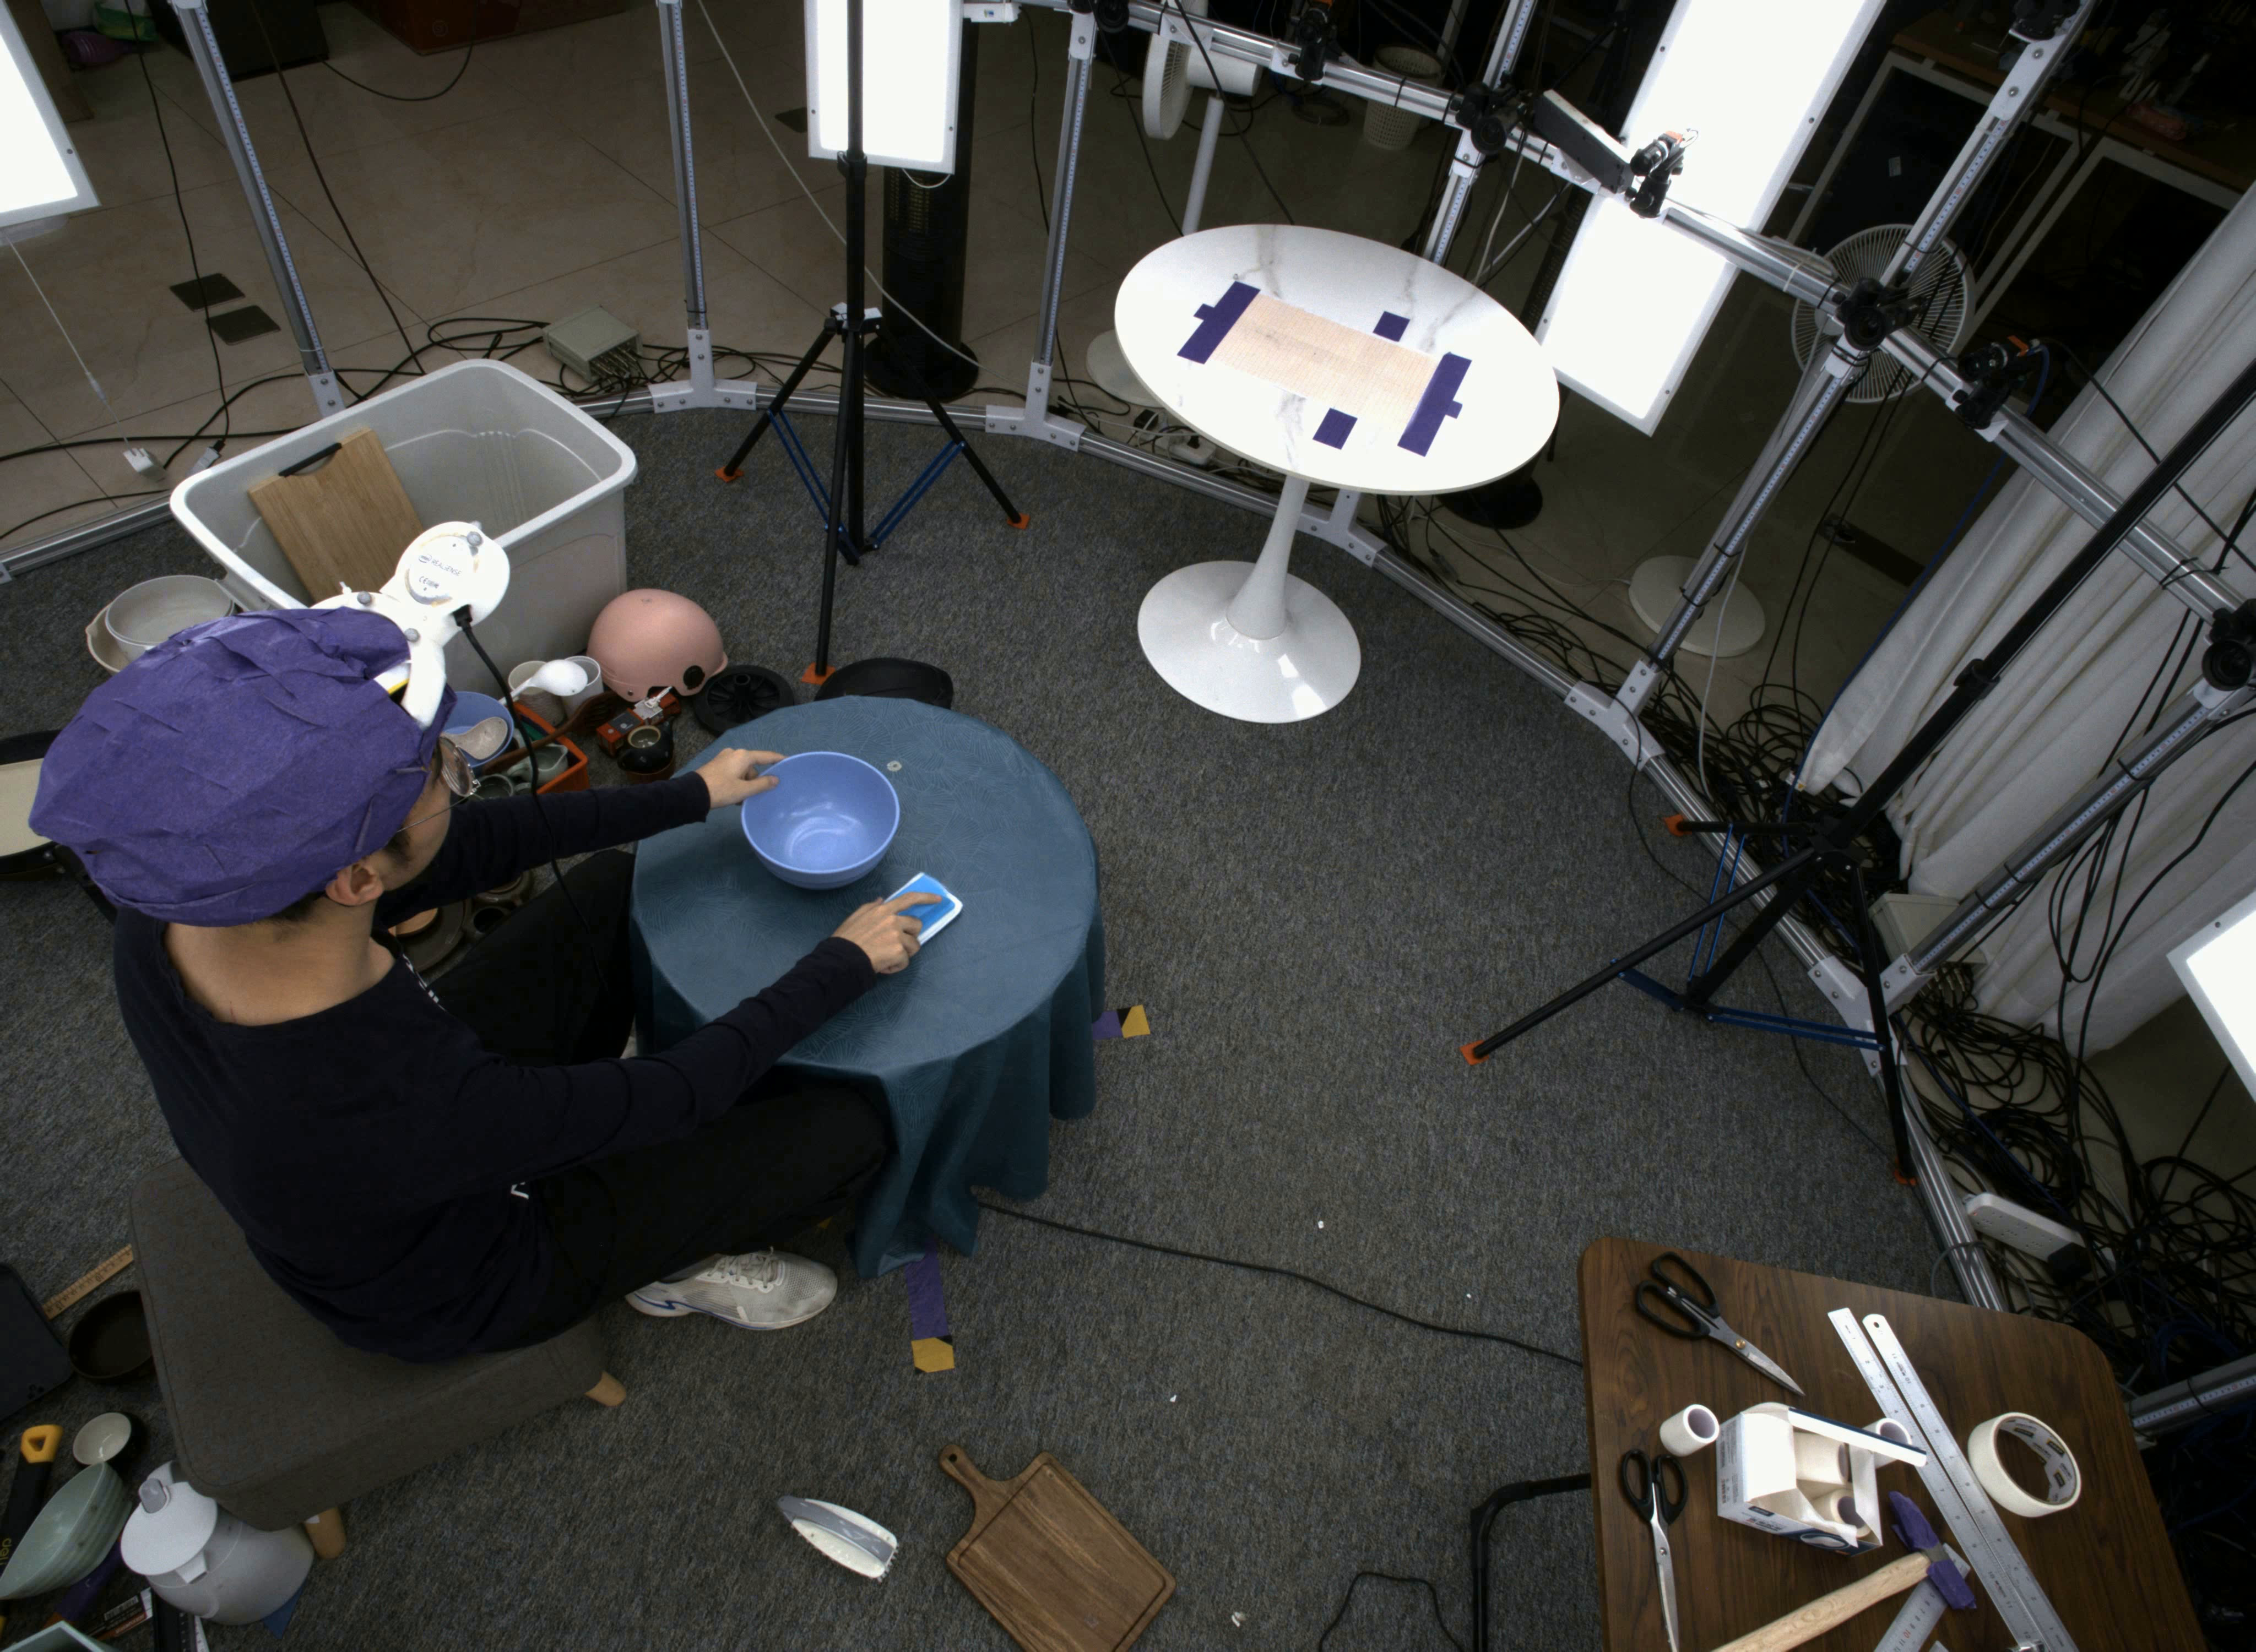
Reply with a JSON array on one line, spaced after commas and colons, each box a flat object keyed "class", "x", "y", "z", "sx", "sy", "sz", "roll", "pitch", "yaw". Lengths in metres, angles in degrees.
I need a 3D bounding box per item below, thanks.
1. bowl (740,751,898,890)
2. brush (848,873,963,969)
[{"class": "bowl", "x": -0.394, "y": 0.008, "z": 1.666, "sx": 0.196, "sy": 0.097, "sz": 0.193, "roll": 8, "pitch": 51, "yaw": -8}, {"class": "brush", "x": -0.279, "y": 0.110, "z": 1.639, "sx": 0.082, "sy": 0.057, "sz": 0.144, "roll": 41, "pitch": 53, "yaw": 16}]
